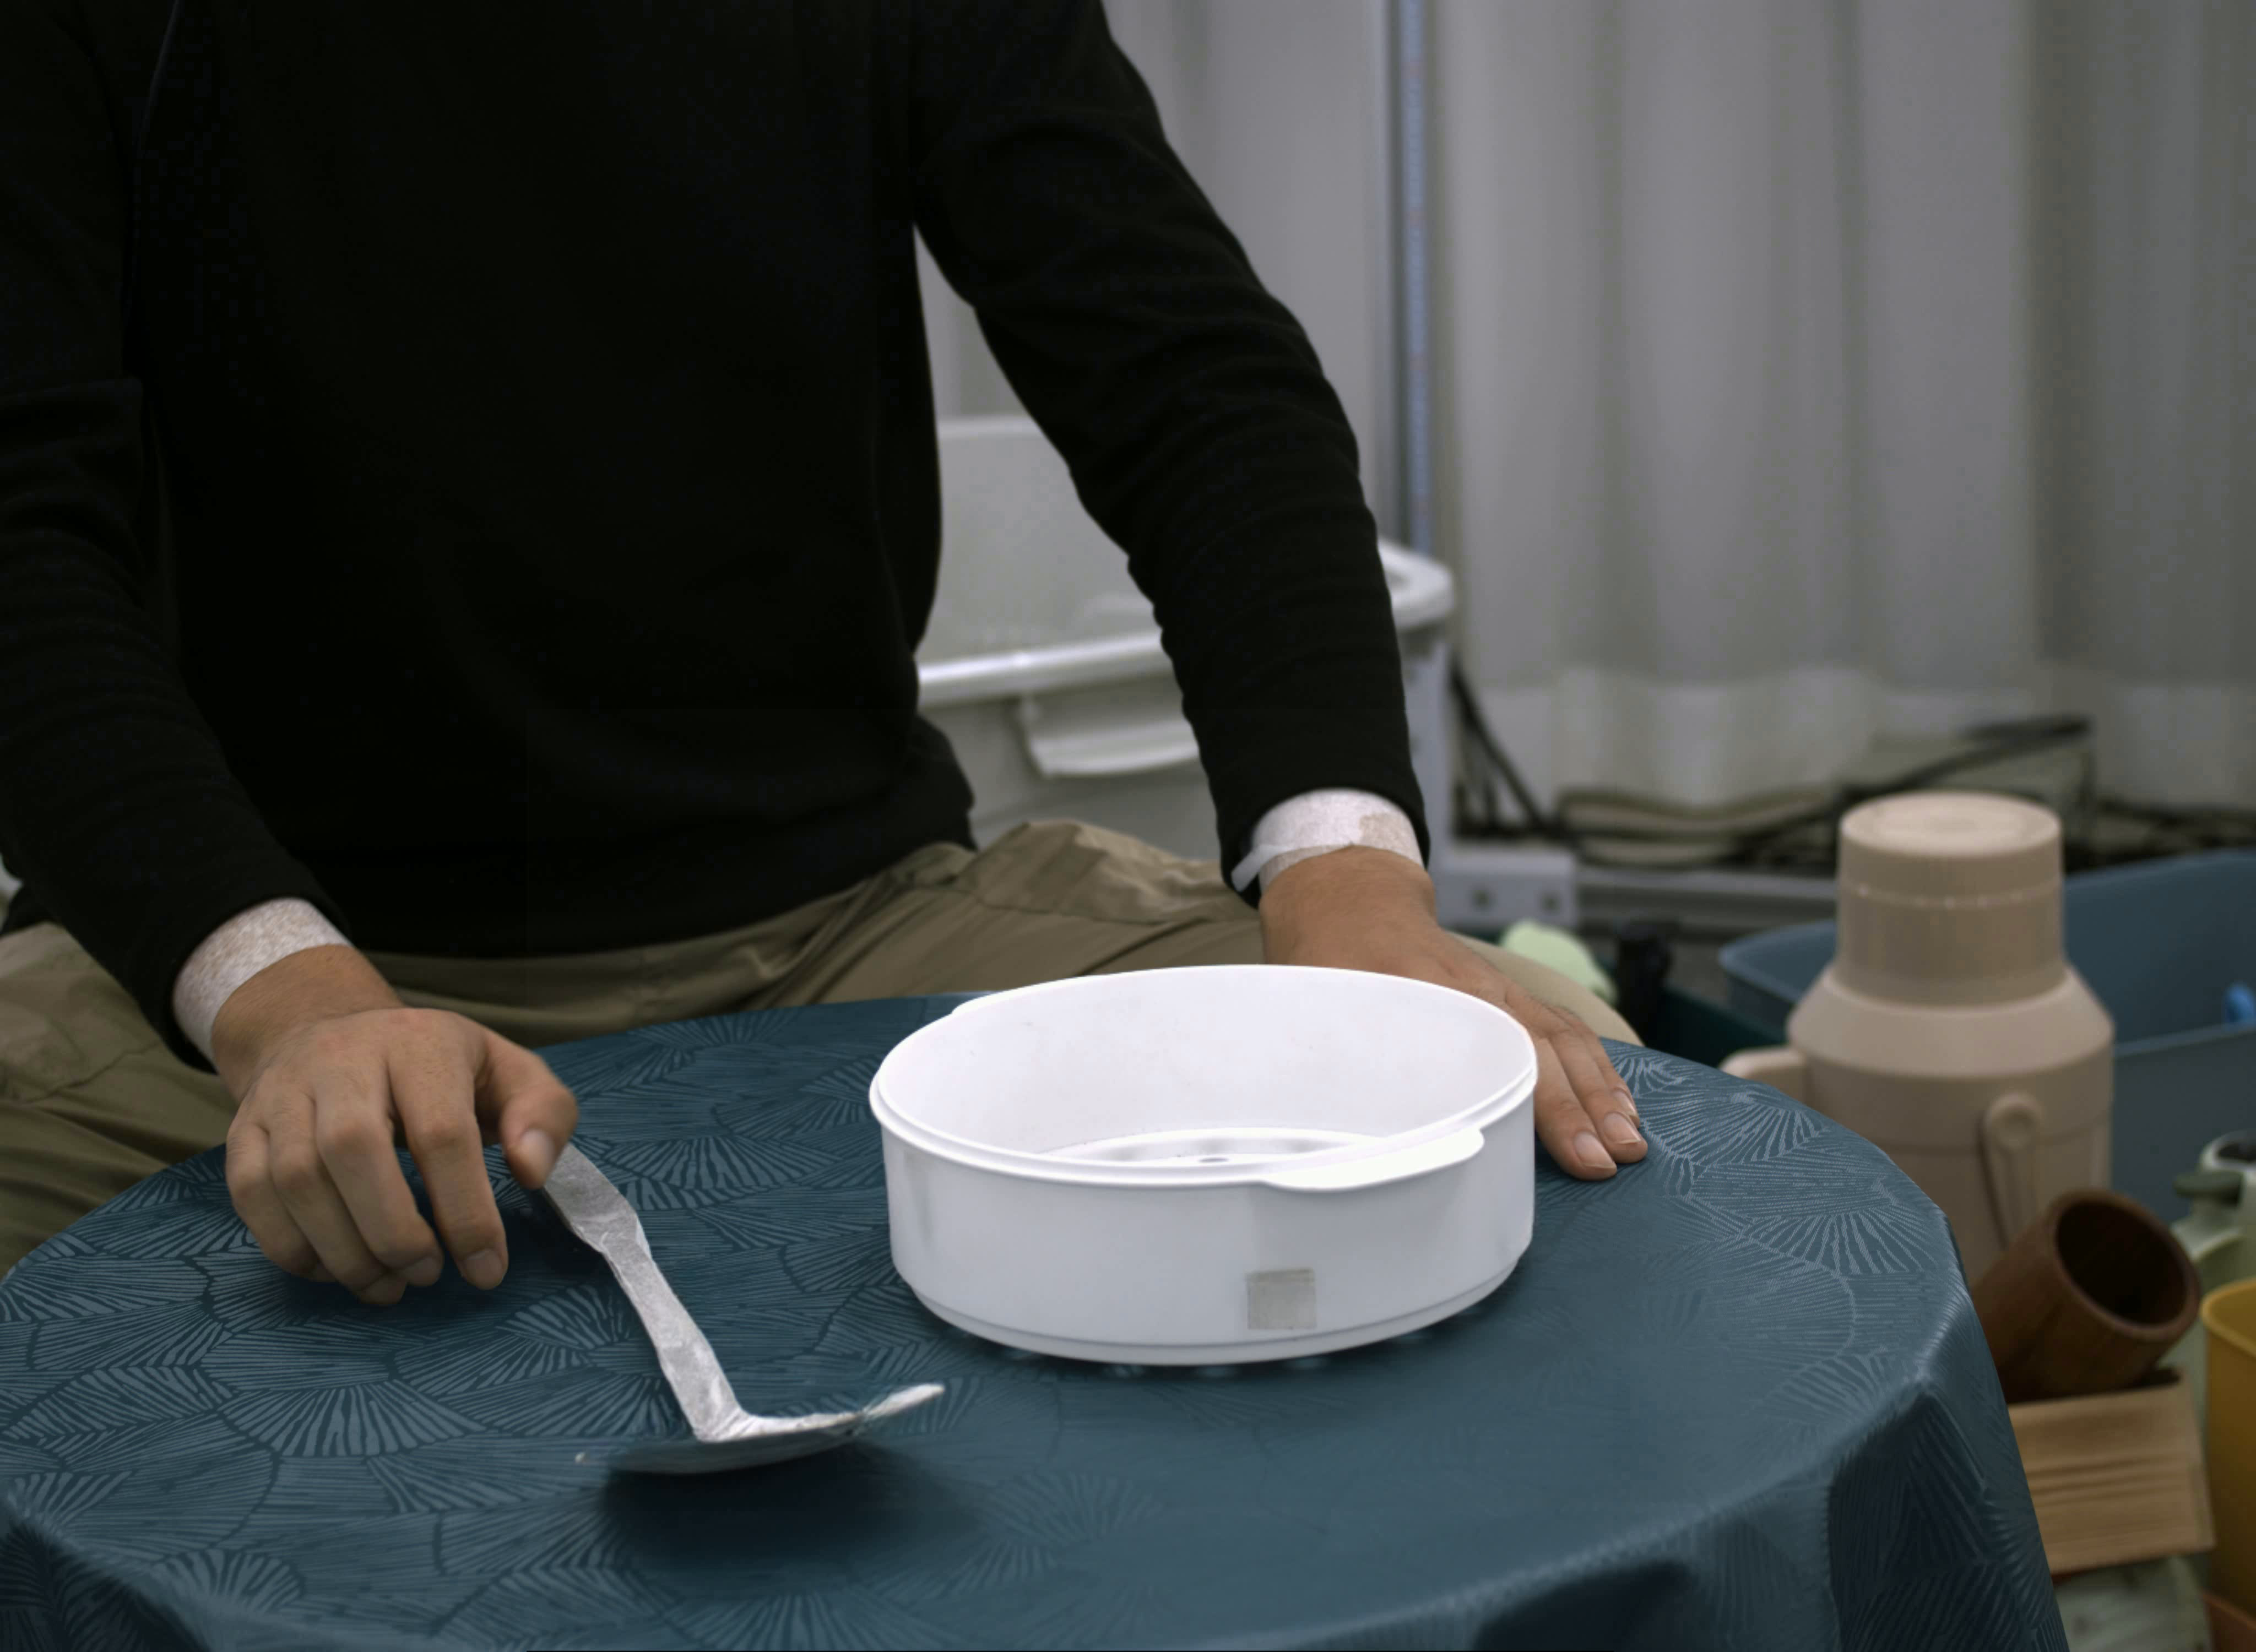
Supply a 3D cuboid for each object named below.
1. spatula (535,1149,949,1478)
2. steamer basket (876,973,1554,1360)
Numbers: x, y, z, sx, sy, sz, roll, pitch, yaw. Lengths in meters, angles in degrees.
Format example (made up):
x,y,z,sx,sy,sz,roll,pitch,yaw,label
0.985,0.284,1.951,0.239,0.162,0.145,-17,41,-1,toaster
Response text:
x,y,z,sx,sy,sz,roll,pitch,yaw,label
-0.137,0.133,1.599,0.098,0.044,0.368,-10,16,-14,spatula
0.027,0.101,1.625,0.201,0.069,0.232,-9,15,-27,steamer basket
